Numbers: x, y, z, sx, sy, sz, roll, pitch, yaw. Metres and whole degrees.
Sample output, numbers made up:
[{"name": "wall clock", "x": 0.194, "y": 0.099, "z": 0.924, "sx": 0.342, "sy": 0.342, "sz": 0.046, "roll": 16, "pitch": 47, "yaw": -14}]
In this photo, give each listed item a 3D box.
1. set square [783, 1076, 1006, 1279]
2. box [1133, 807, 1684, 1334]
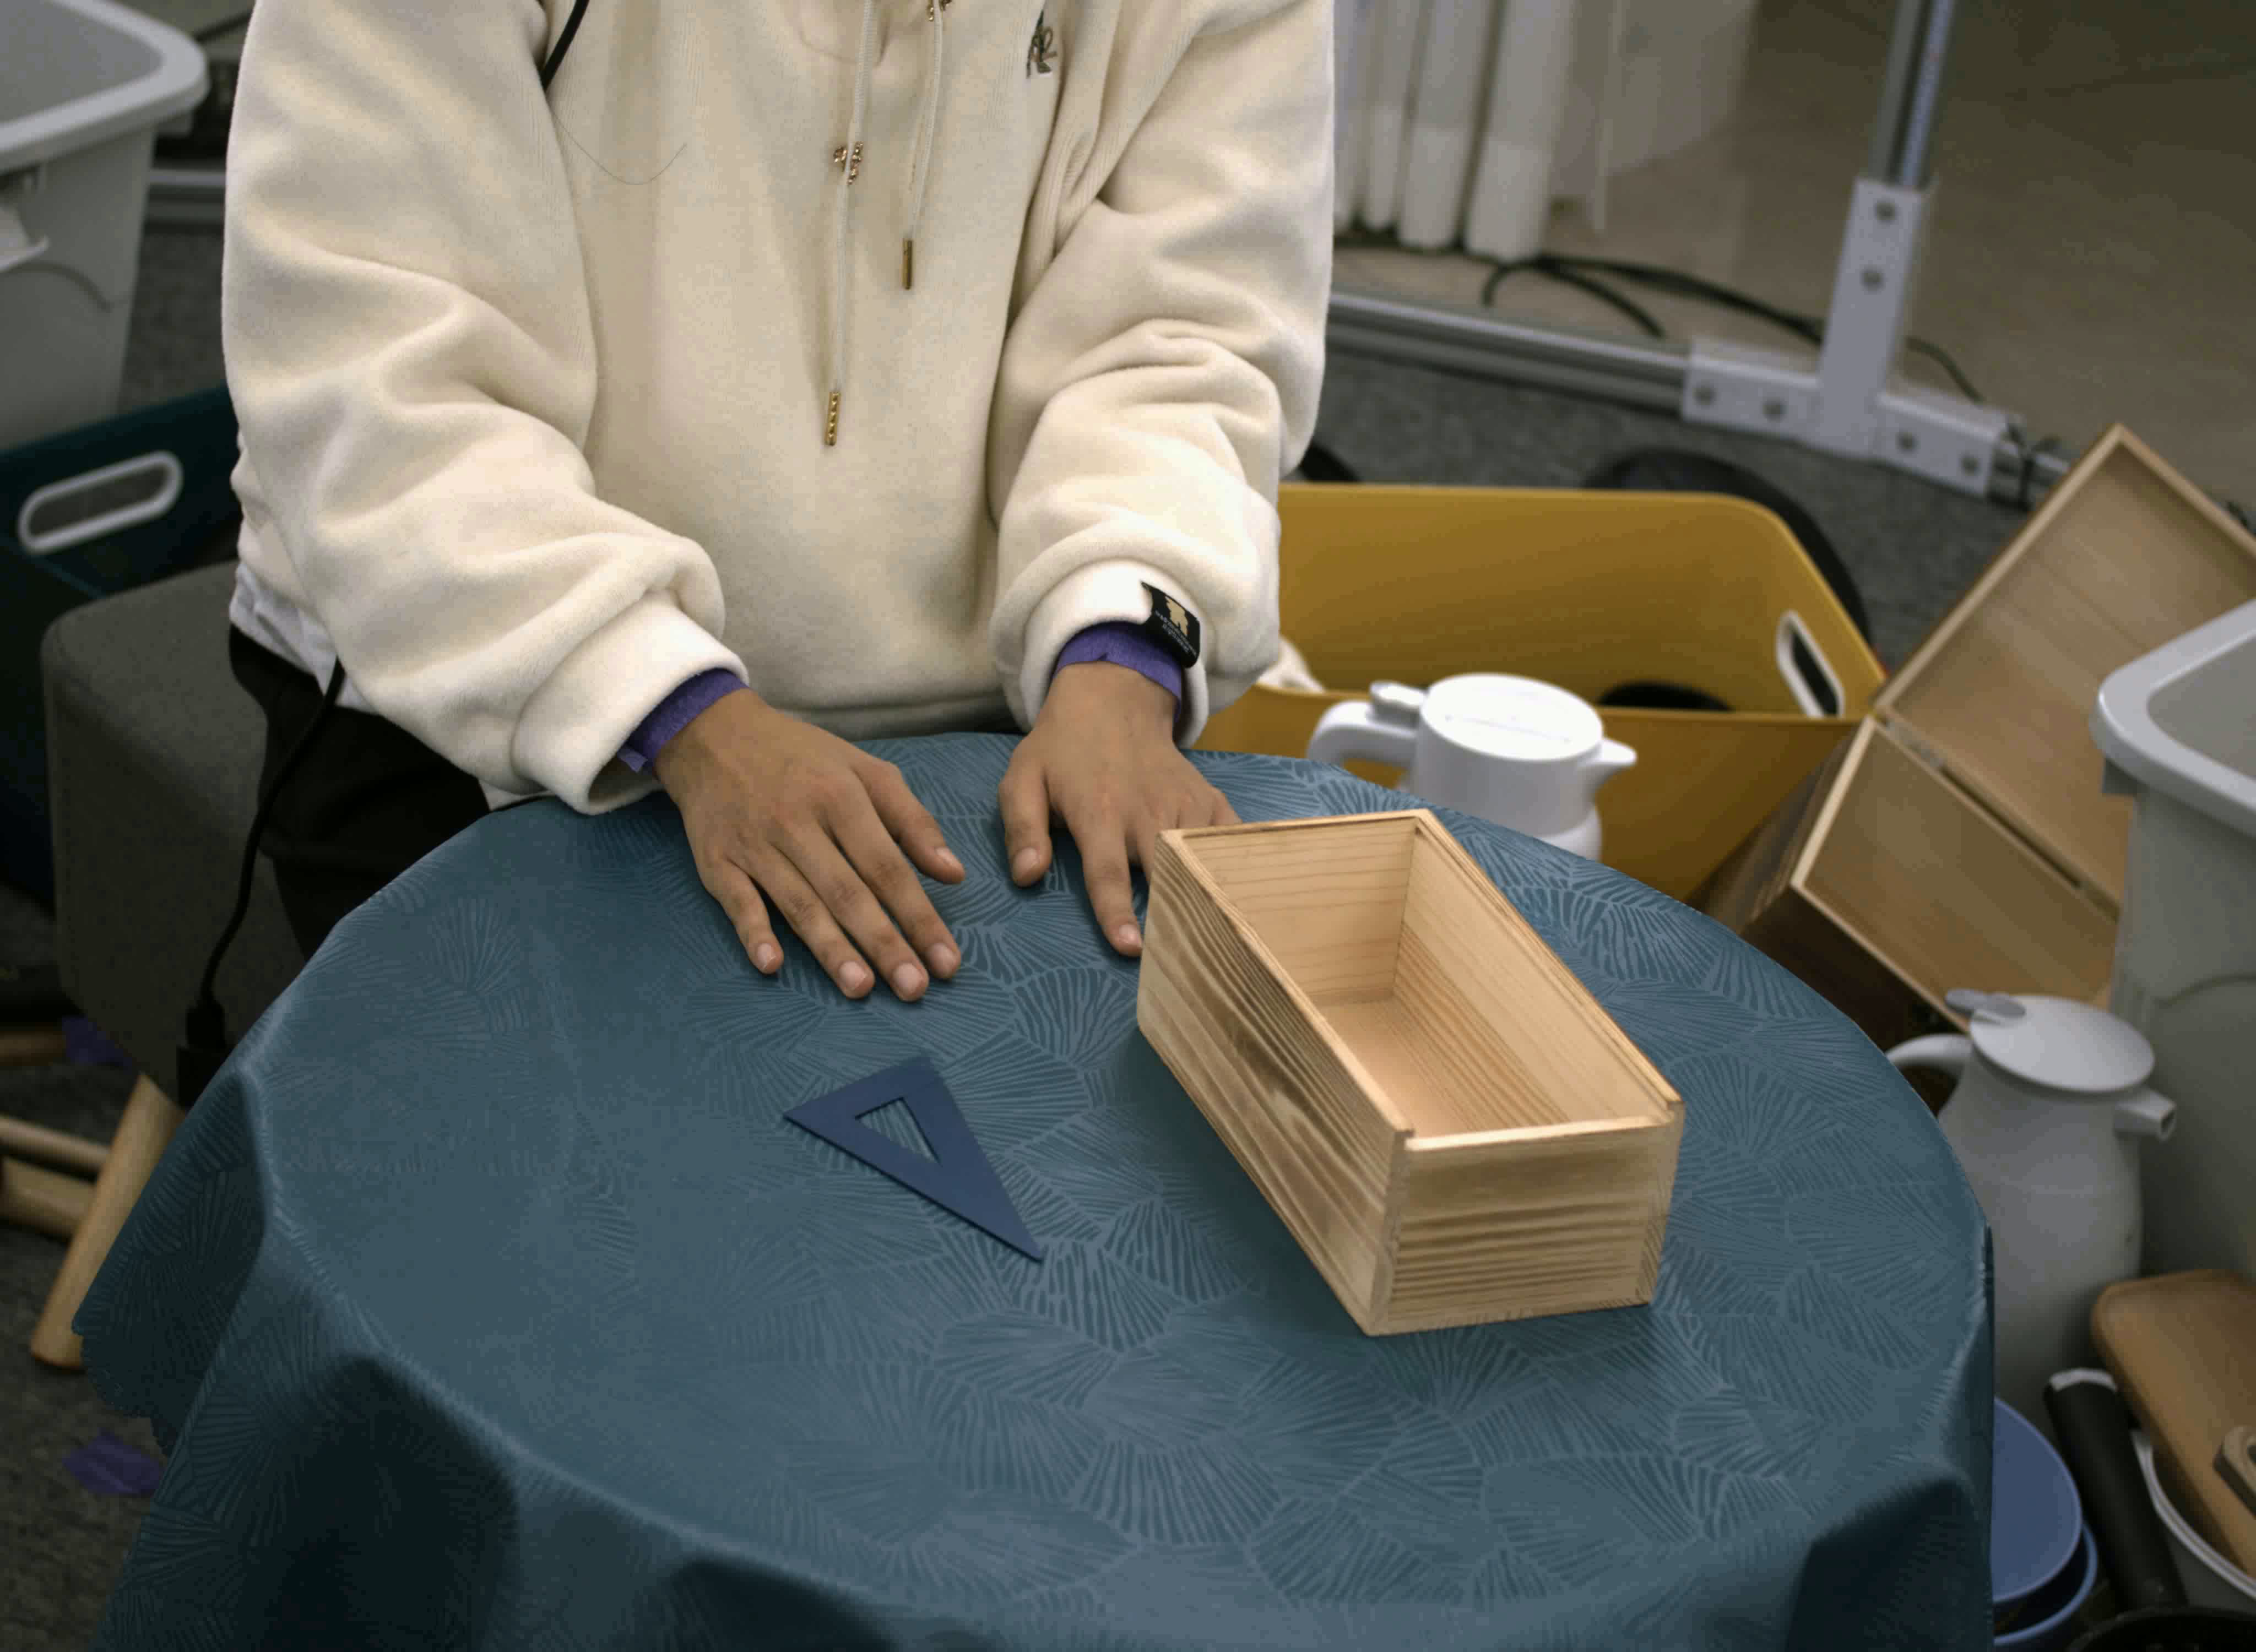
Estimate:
[{"name": "set square", "x": -0.080, "y": 0.117, "z": 1.793, "sx": 0.061, "sy": 0.006, "sz": 0.133, "roll": 0, "pitch": 27, "yaw": -15}, {"name": "box", "x": 0.092, "y": 0.080, "z": 1.821, "sx": 0.107, "sy": 0.080, "sz": 0.213, "roll": -4, "pitch": 29, "yaw": -22}]
